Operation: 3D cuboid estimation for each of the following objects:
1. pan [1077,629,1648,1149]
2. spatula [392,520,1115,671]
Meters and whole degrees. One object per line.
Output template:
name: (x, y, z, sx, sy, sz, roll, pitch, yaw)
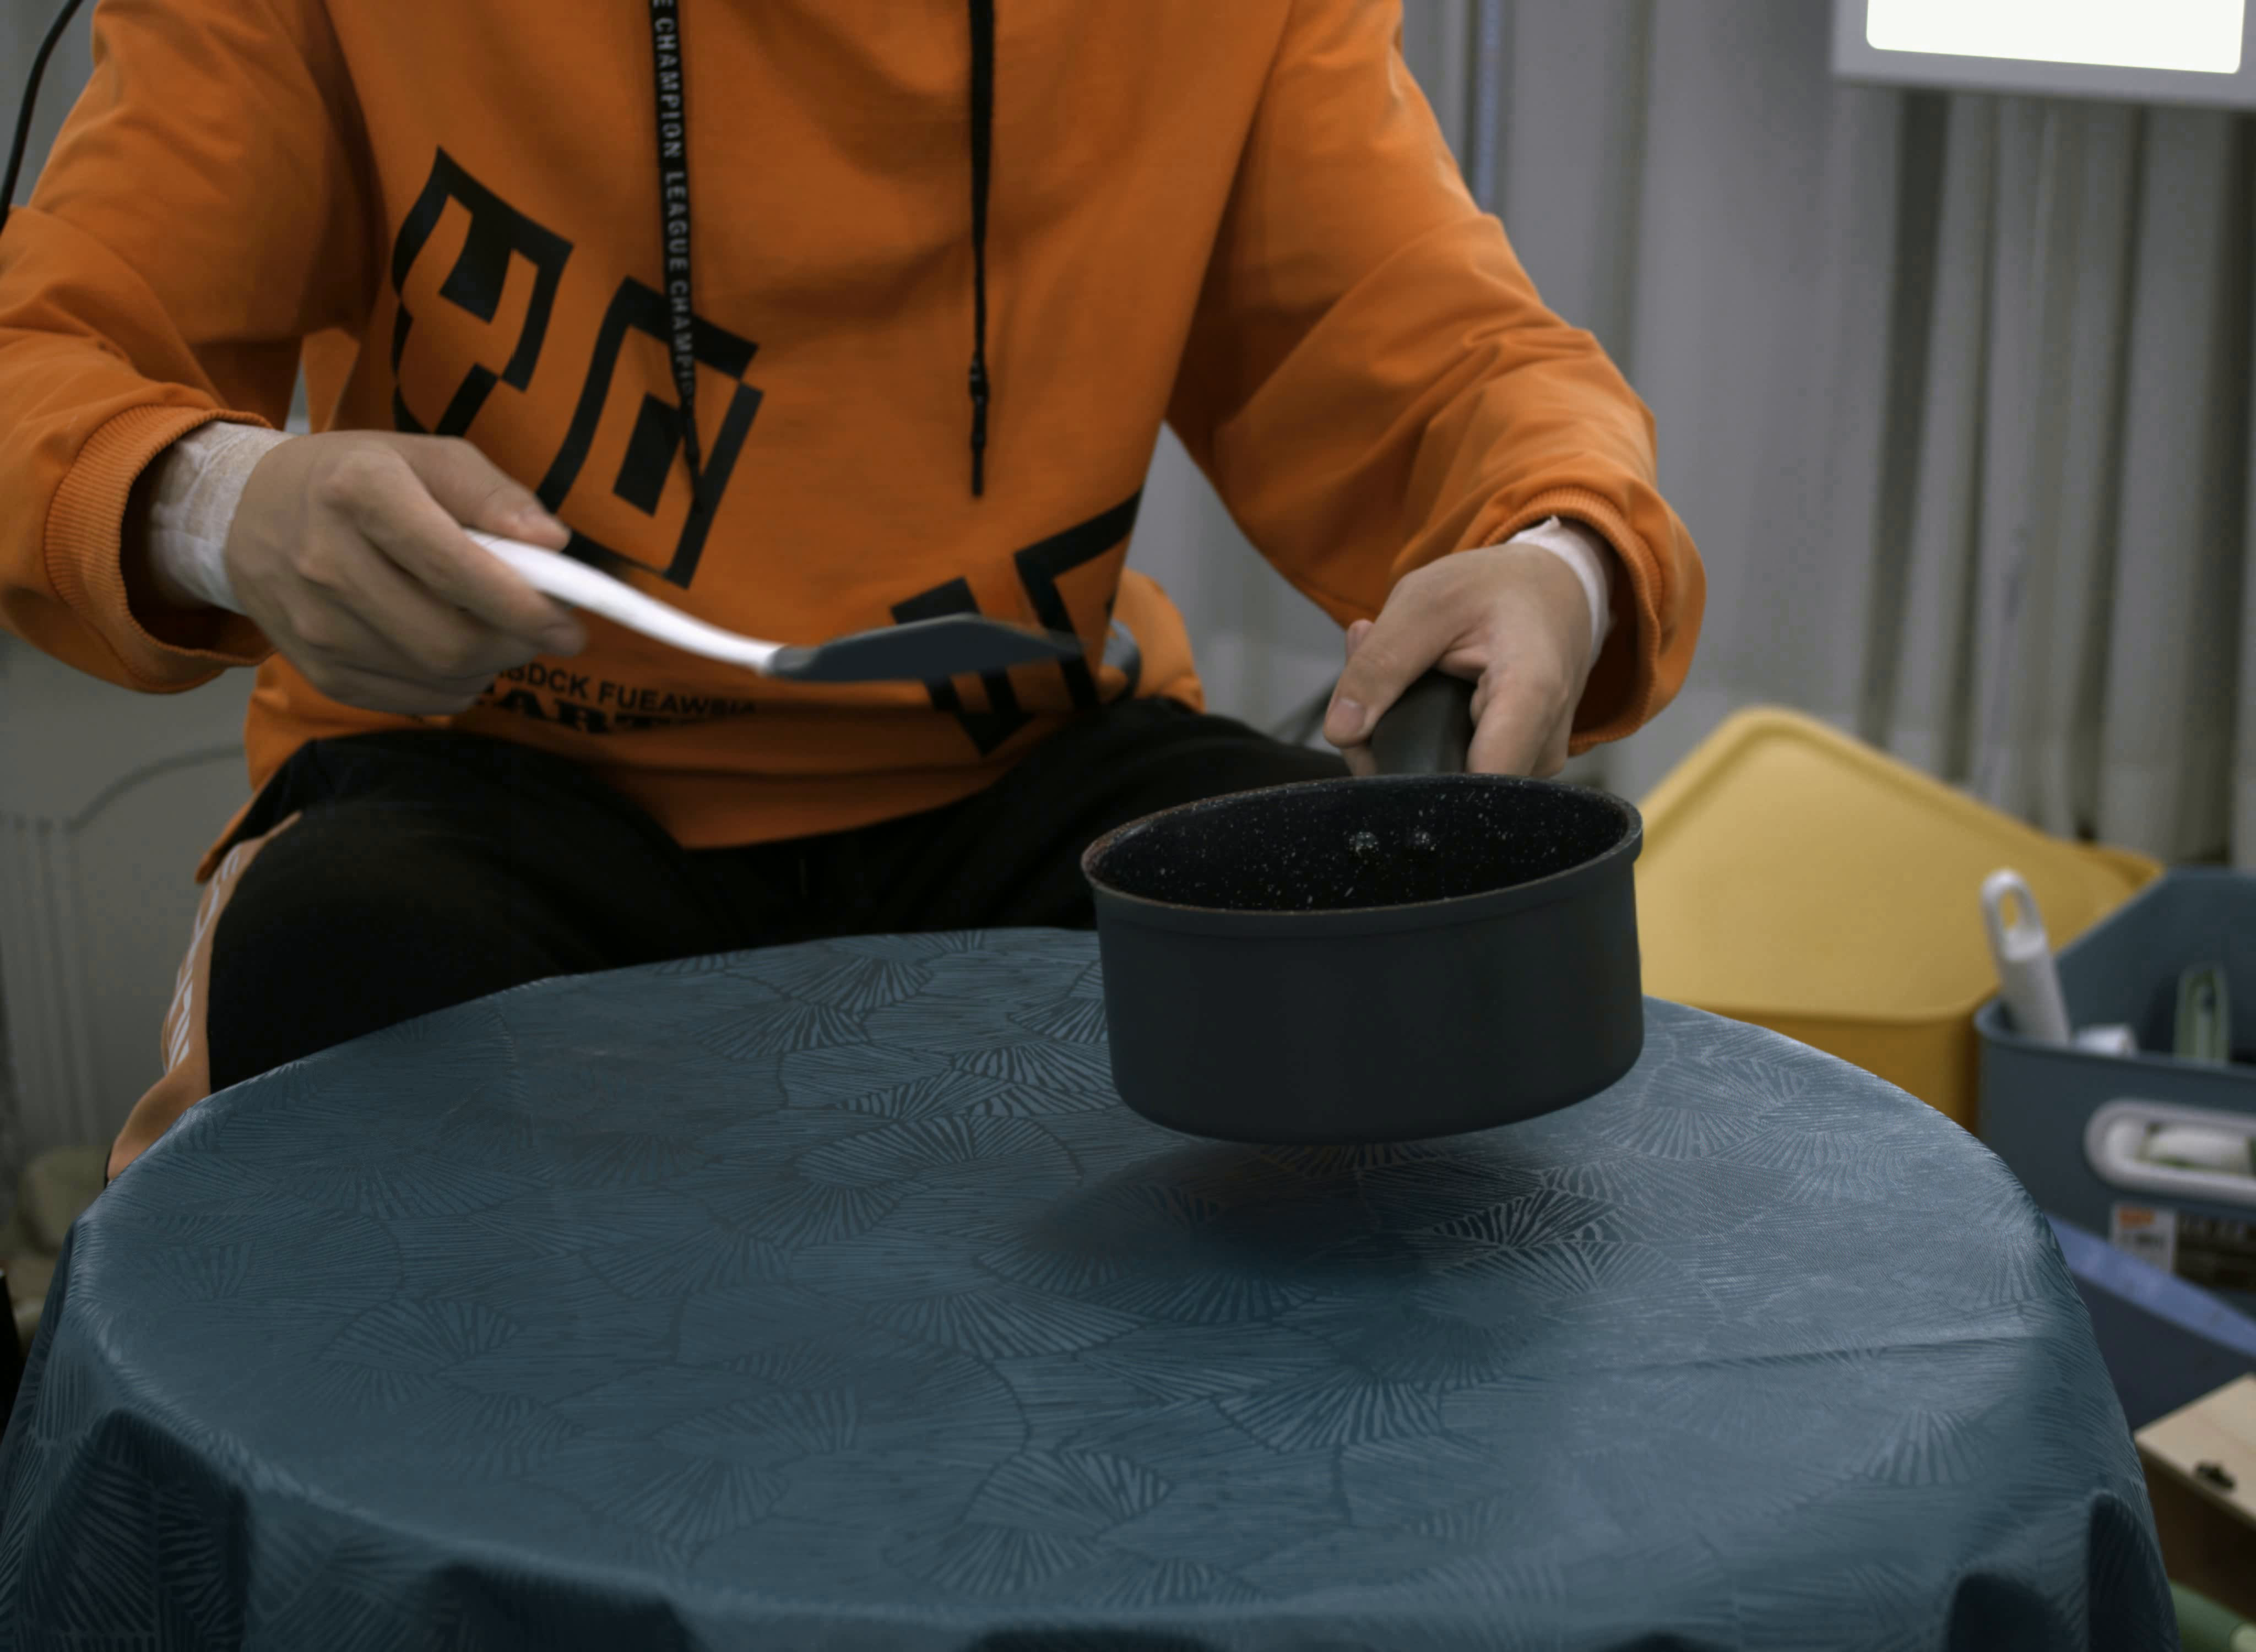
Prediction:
pan: (0.088, 0.017, 1.672, 0.171, 0.087, 0.328, -1, 15, 12)
spatula: (-0.123, -0.068, 1.610, 0.284, 0.032, 0.059, 9, -3, 42)
